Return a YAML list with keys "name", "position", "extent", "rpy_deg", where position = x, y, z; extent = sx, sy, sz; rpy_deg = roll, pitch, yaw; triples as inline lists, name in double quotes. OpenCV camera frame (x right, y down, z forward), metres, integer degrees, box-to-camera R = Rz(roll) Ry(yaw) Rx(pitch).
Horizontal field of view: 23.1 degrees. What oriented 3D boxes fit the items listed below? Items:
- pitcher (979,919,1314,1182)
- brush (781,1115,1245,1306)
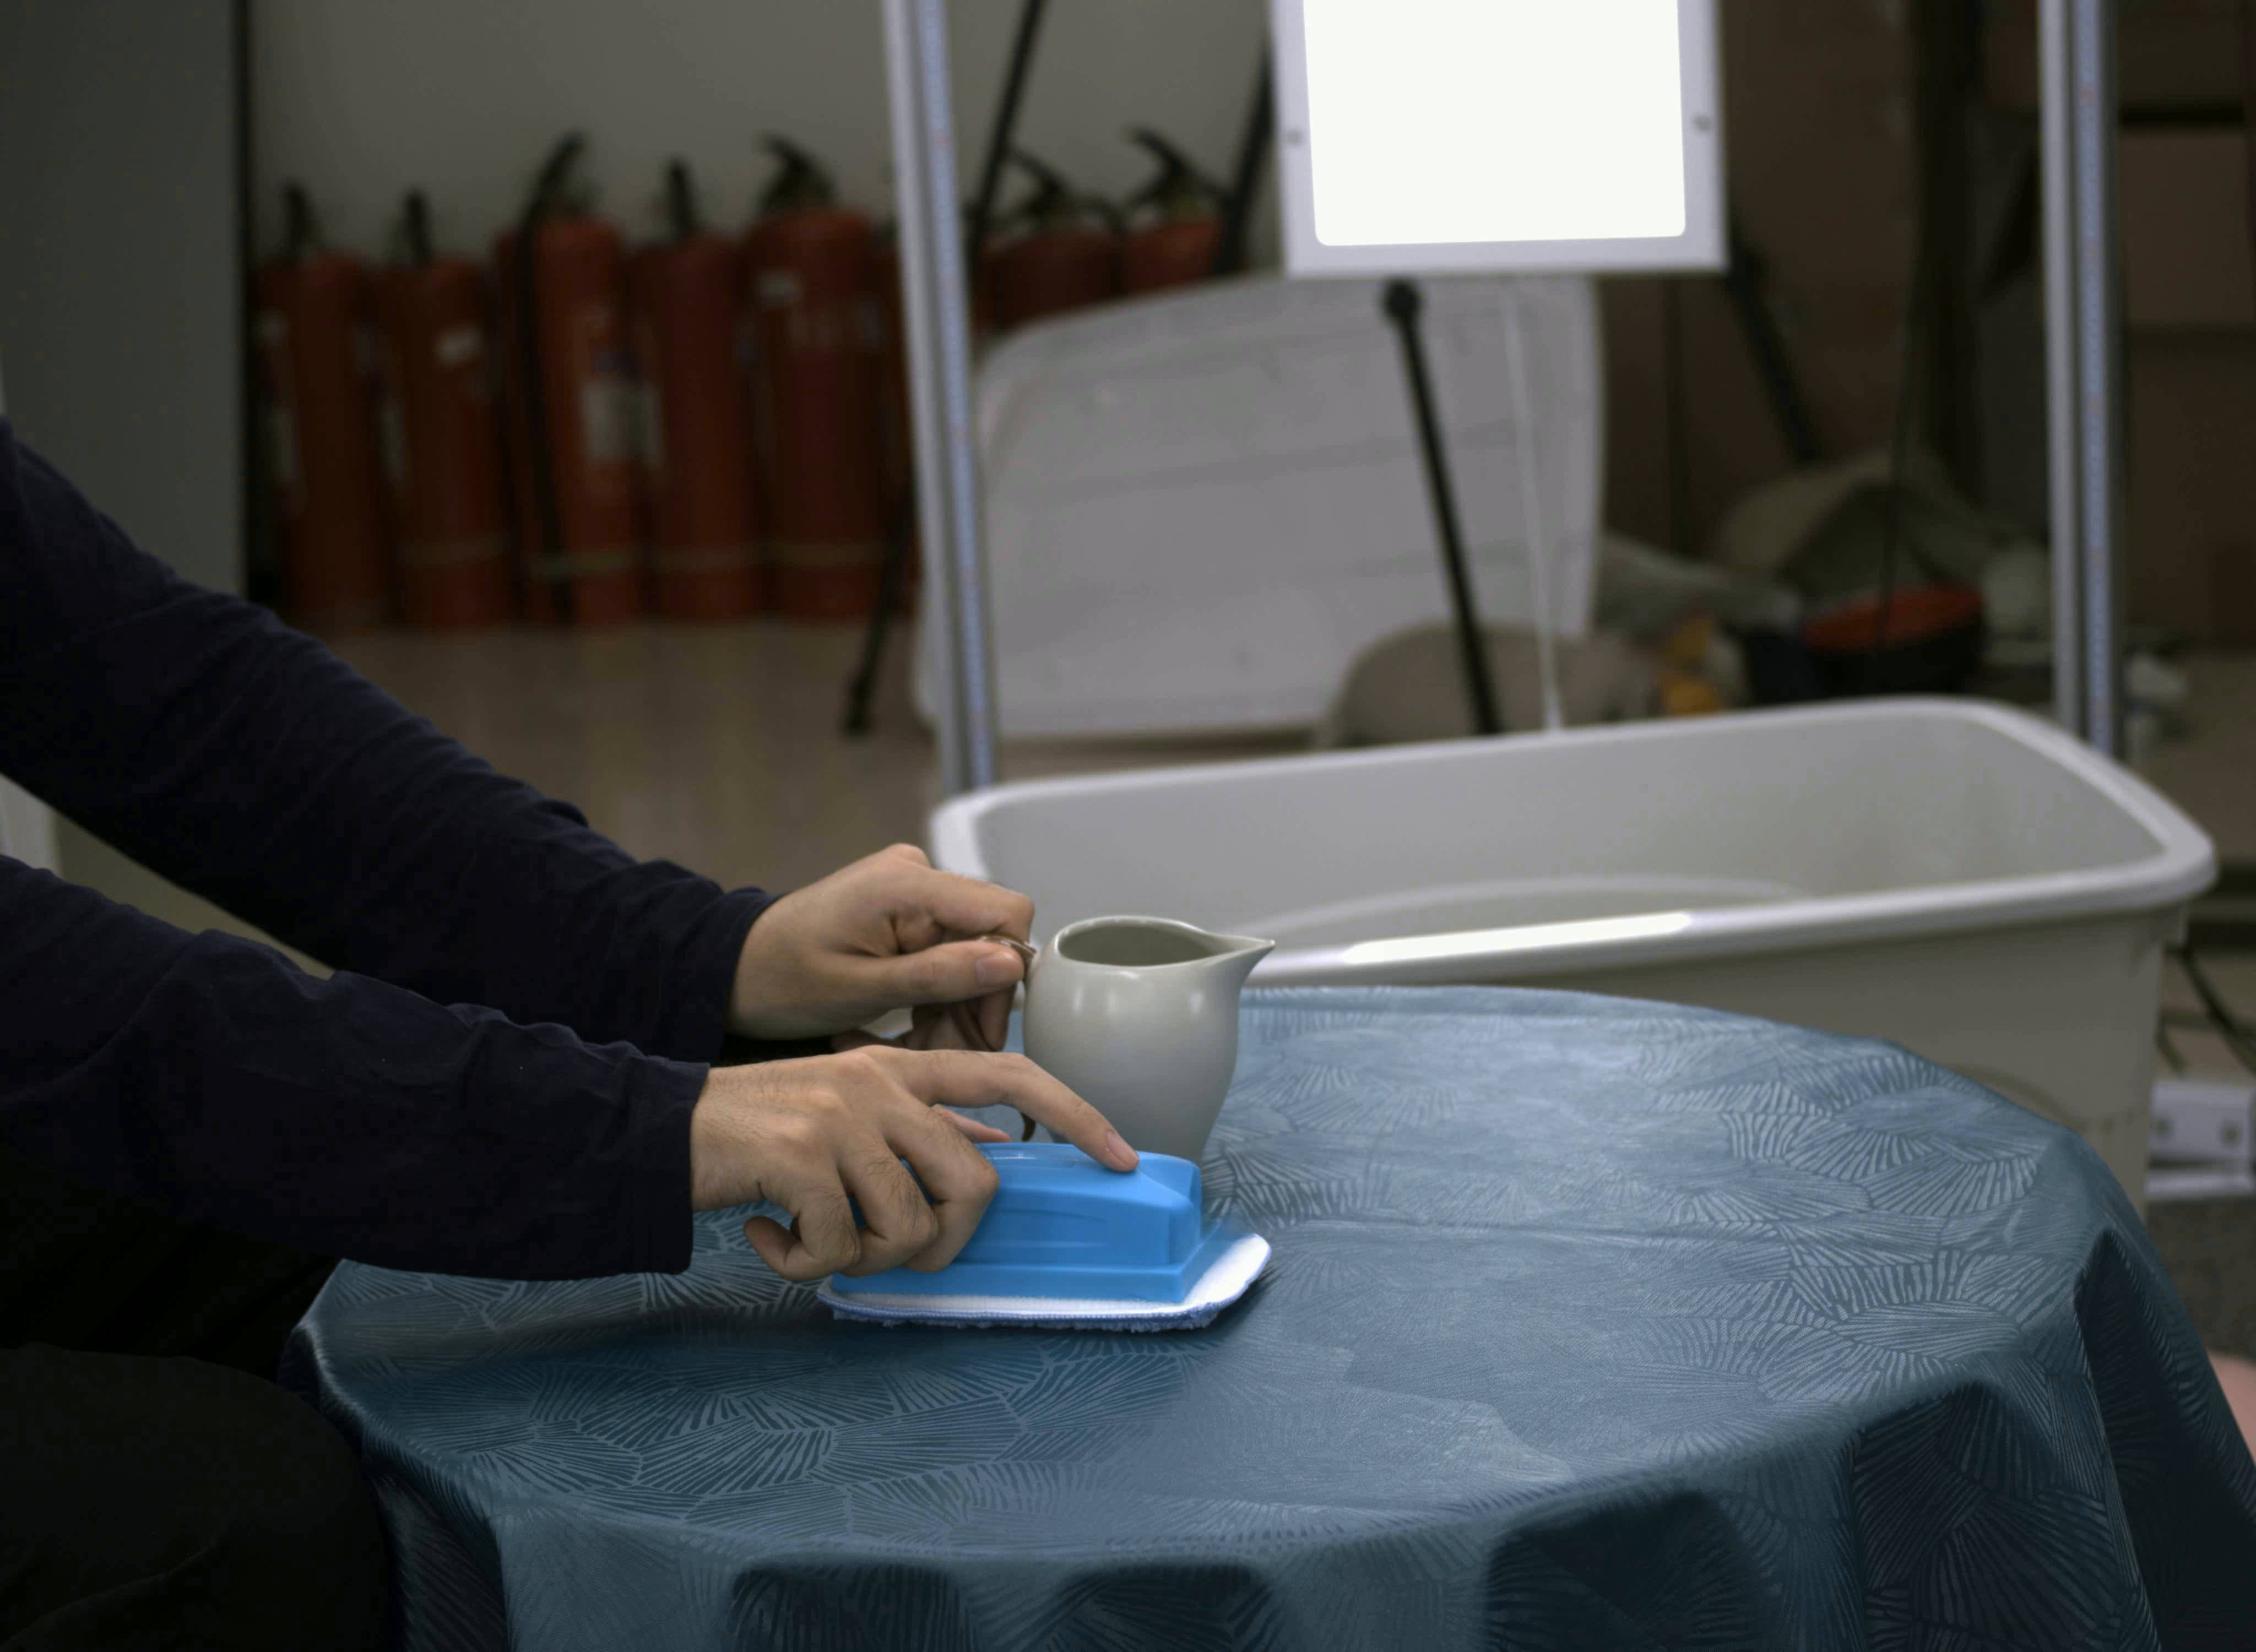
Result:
- name: "pitcher"
  position: [0.002, 0.077, 1.909]
  extent: [0.120, 0.088, 0.074]
  rpy_deg: [12, 18, 18]
- name: "brush"
  position: [-0.037, 0.125, 1.791]
  extent: [0.146, 0.056, 0.082]
  rpy_deg: [3, 13, 21]
